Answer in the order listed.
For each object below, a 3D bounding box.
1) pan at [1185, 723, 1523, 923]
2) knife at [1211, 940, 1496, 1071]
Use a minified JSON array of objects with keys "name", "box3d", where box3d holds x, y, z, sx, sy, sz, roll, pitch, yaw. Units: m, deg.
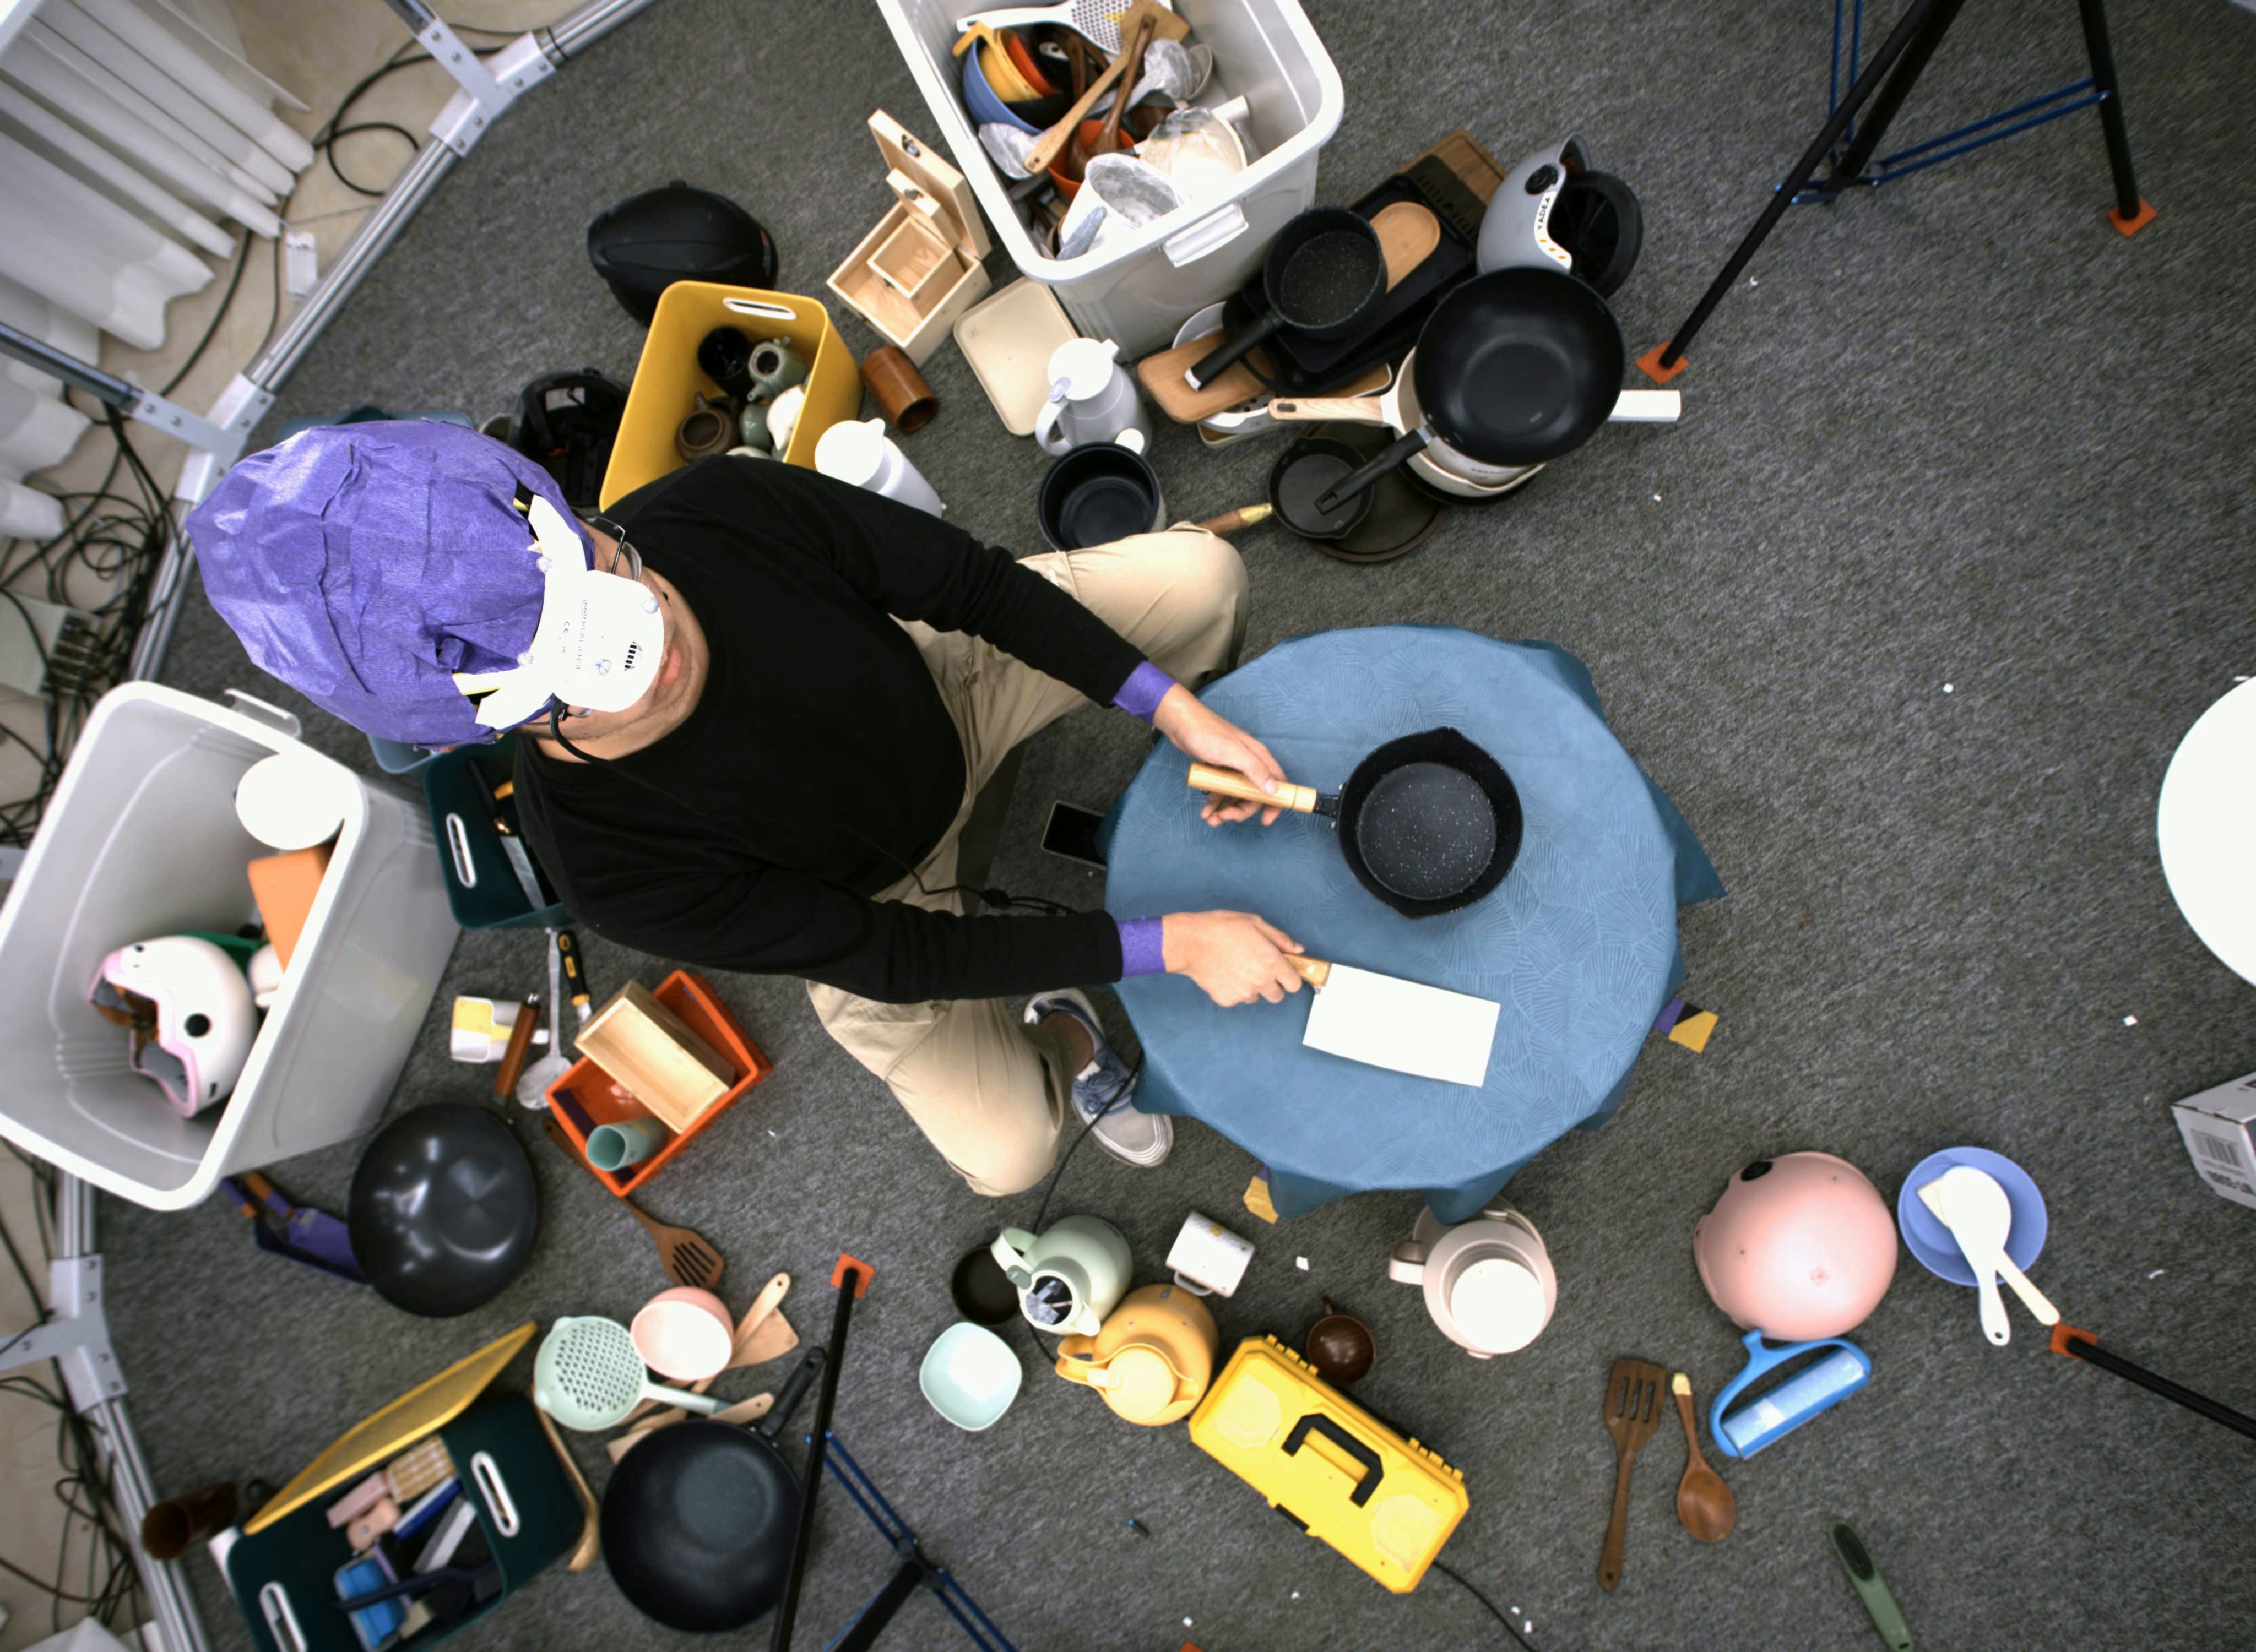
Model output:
[{"name":"pan","box3d":[0.229,-0.015,1.420,0.343,0.108,0.207,11,89,10]},{"name":"knife","box3d":[0.230,0.189,1.441,0.306,0.021,0.093,13,90,3]}]
